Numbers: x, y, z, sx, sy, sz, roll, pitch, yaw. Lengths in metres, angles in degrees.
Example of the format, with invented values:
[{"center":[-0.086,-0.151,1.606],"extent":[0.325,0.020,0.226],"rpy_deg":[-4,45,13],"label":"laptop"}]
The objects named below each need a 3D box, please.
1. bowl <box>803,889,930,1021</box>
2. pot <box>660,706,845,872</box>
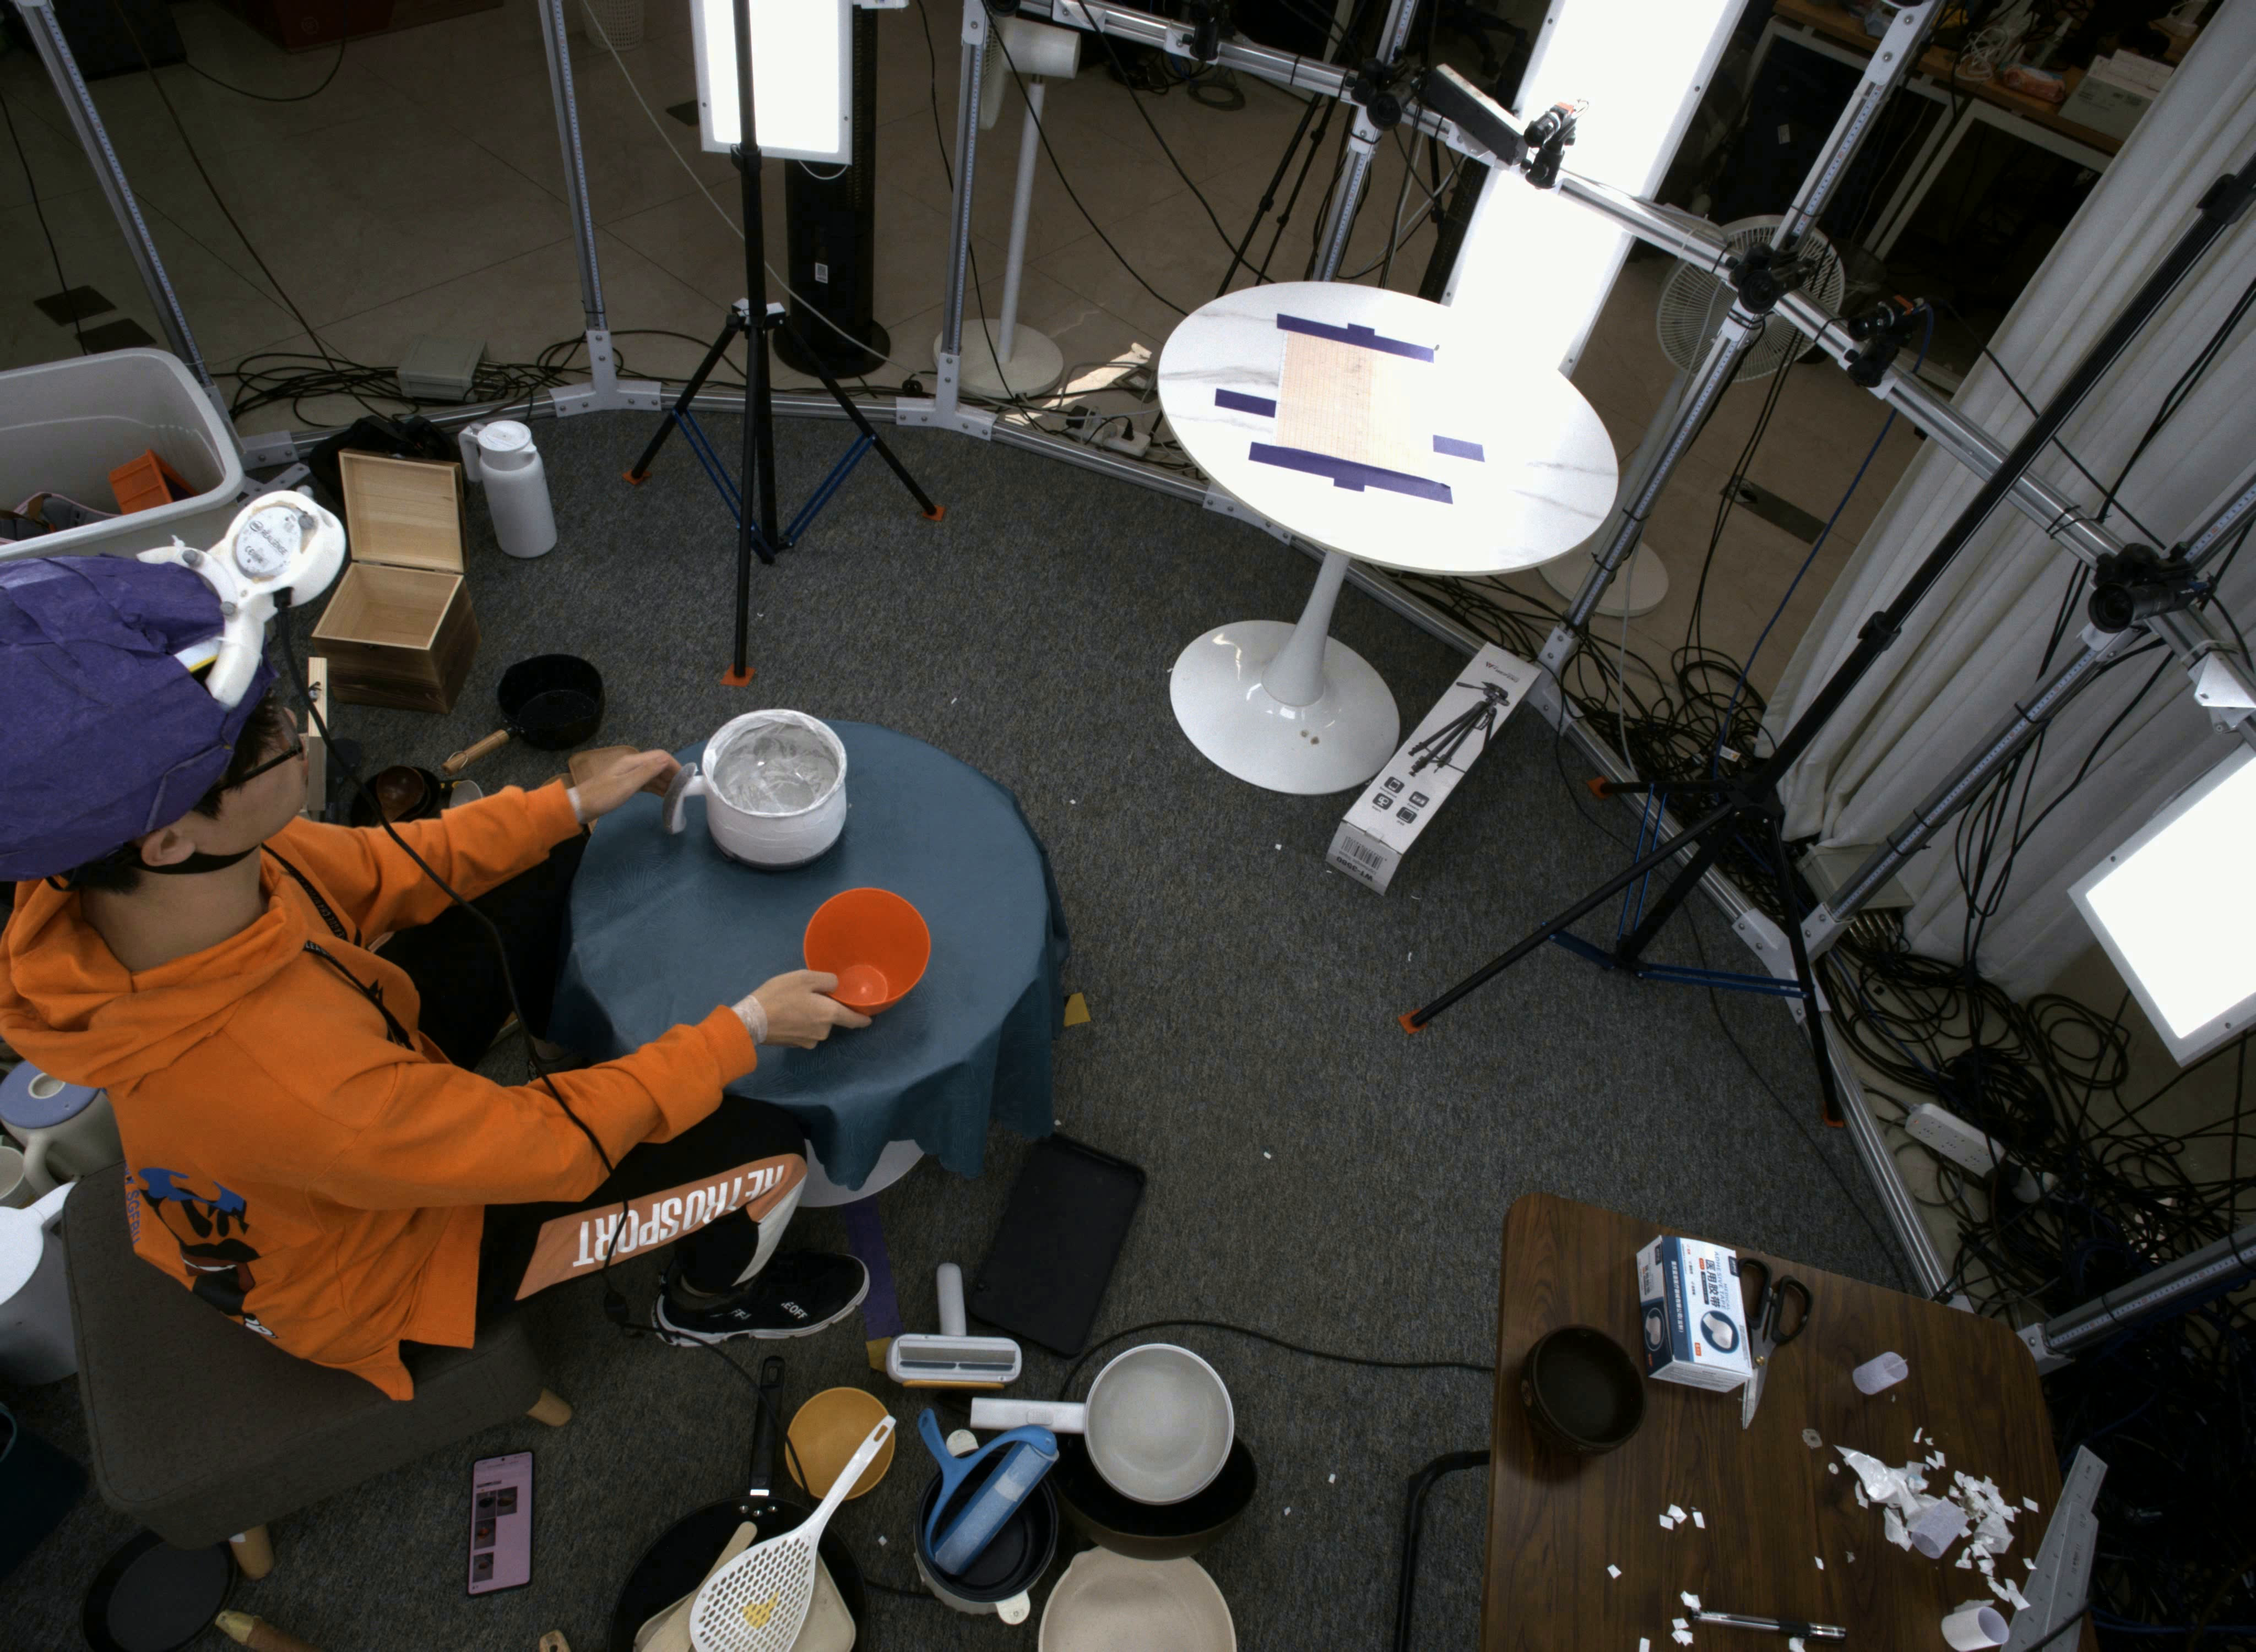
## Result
[{"center":[-0.315,0.165,1.554],"extent":[0.148,0.106,0.145],"rpy_deg":[10,52,-11],"label":"bowl"},{"center":[-0.477,-0.041,1.641],"extent":[0.235,0.139,0.174],"rpy_deg":[-7,54,-19],"label":"pot"}]
